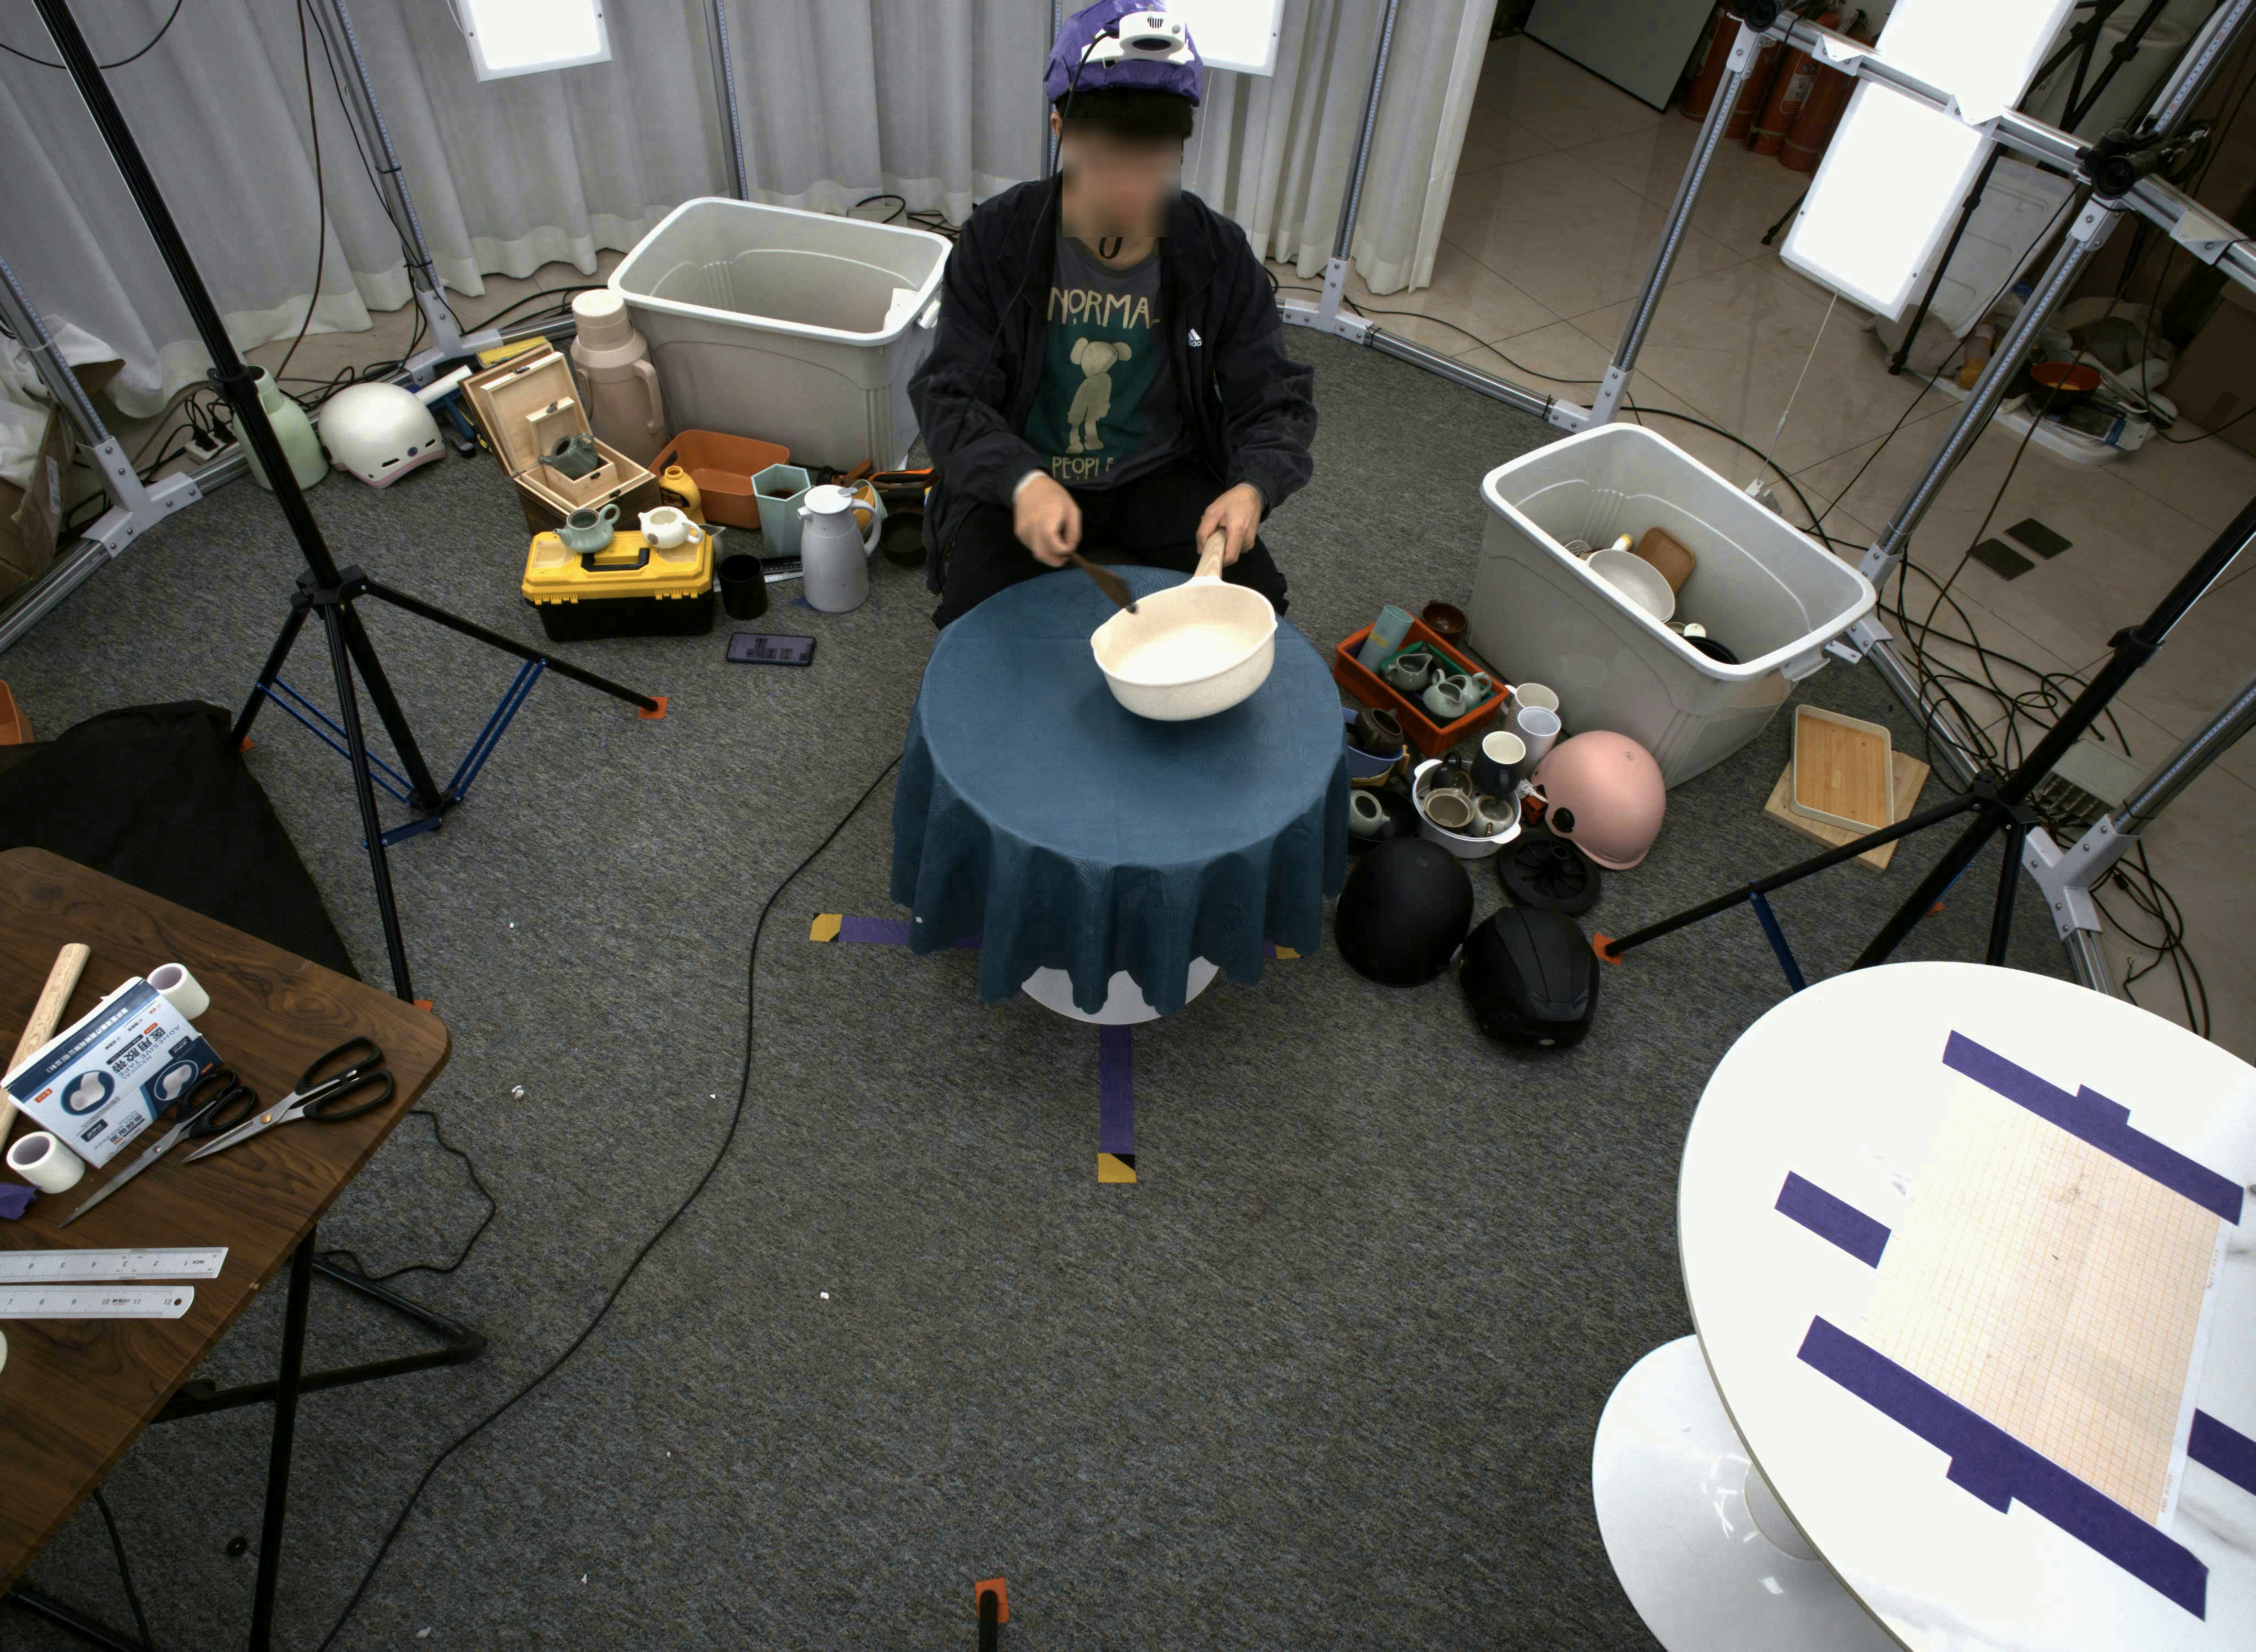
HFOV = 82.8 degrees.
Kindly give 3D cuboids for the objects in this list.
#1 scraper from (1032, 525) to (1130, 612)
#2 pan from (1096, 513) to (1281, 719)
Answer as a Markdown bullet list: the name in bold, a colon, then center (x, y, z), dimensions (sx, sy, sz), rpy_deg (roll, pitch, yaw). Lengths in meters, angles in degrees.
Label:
- **scraper**: center (-0.070, -0.359, 1.759), dimensions (0.011, 0.074, 0.215), rpy_deg (-42, 52, -5)
- **pan**: center (0.111, -0.302, 1.834), dimensions (0.264, 0.099, 0.444), rpy_deg (-2, 38, 20)
